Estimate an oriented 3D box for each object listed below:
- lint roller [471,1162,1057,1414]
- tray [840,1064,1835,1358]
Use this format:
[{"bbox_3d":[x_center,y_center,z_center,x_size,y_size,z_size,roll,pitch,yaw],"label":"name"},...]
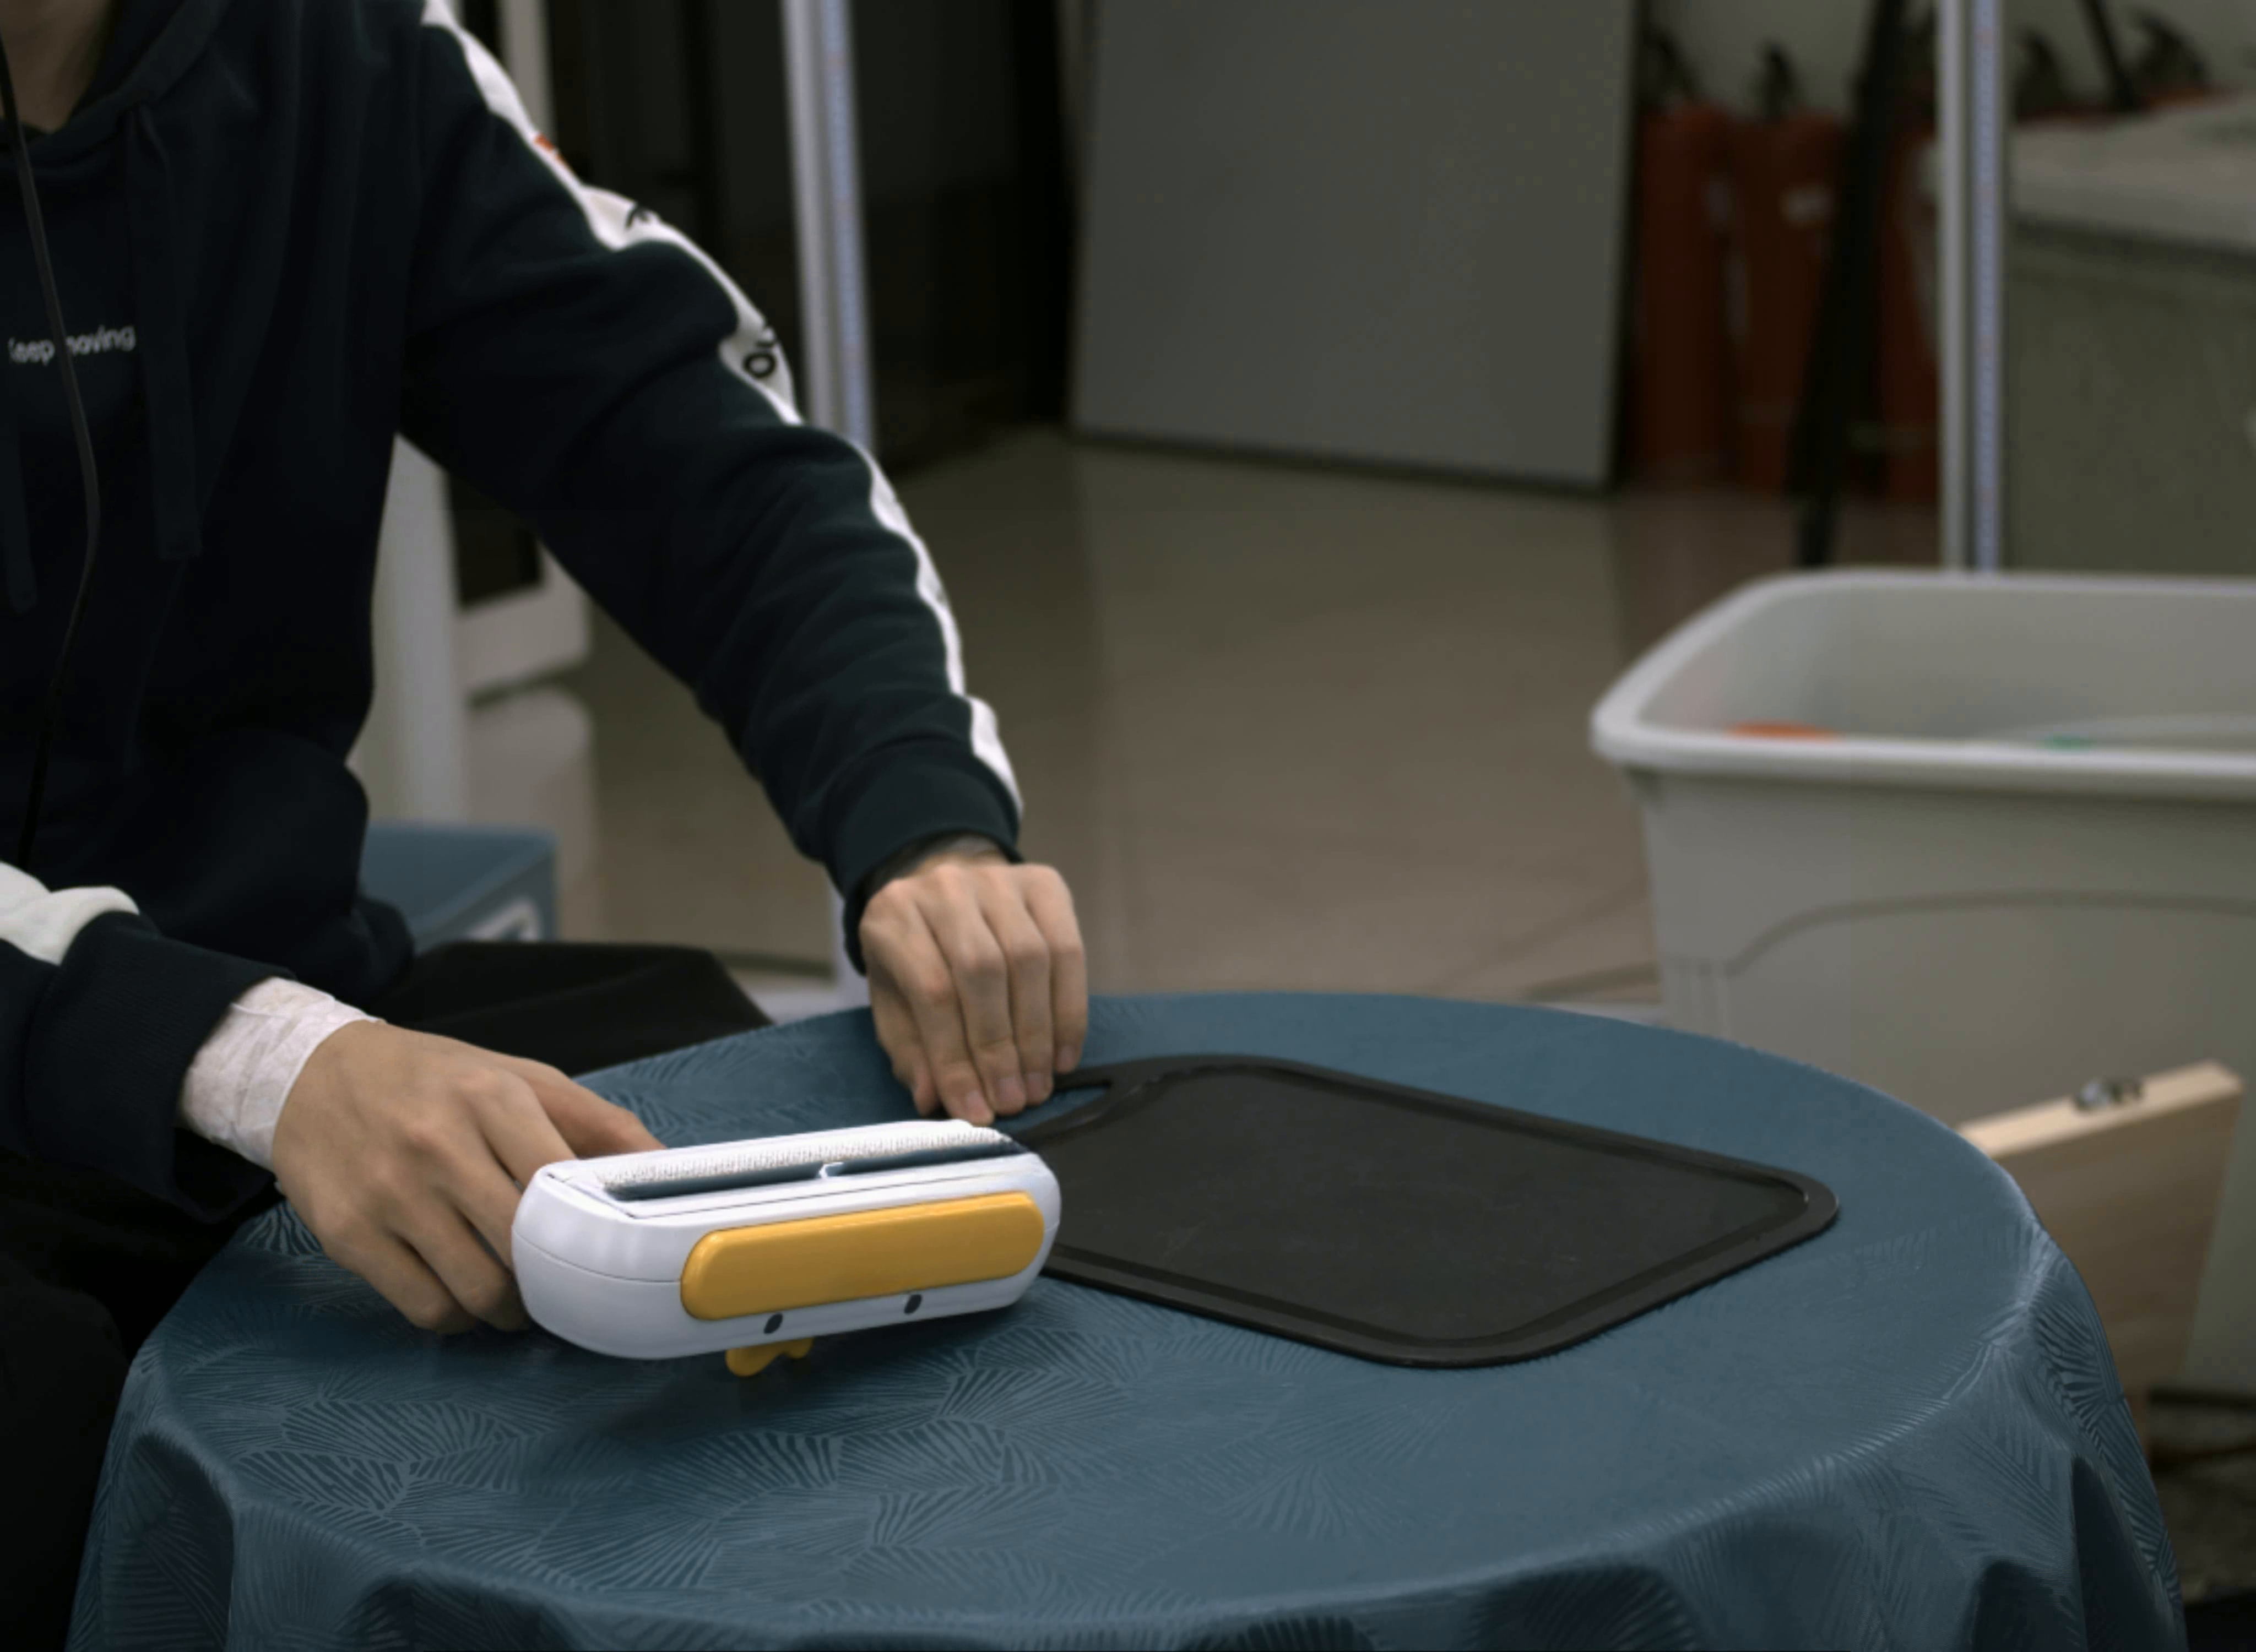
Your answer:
[{"bbox_3d":[-0.140,0.143,1.662,0.188,0.075,0.194,-6,-3,-38],"label":"lint roller"},{"bbox_3d":[0.056,0.119,1.750,0.207,0.010,0.328,-17,19,-42],"label":"tray"}]
